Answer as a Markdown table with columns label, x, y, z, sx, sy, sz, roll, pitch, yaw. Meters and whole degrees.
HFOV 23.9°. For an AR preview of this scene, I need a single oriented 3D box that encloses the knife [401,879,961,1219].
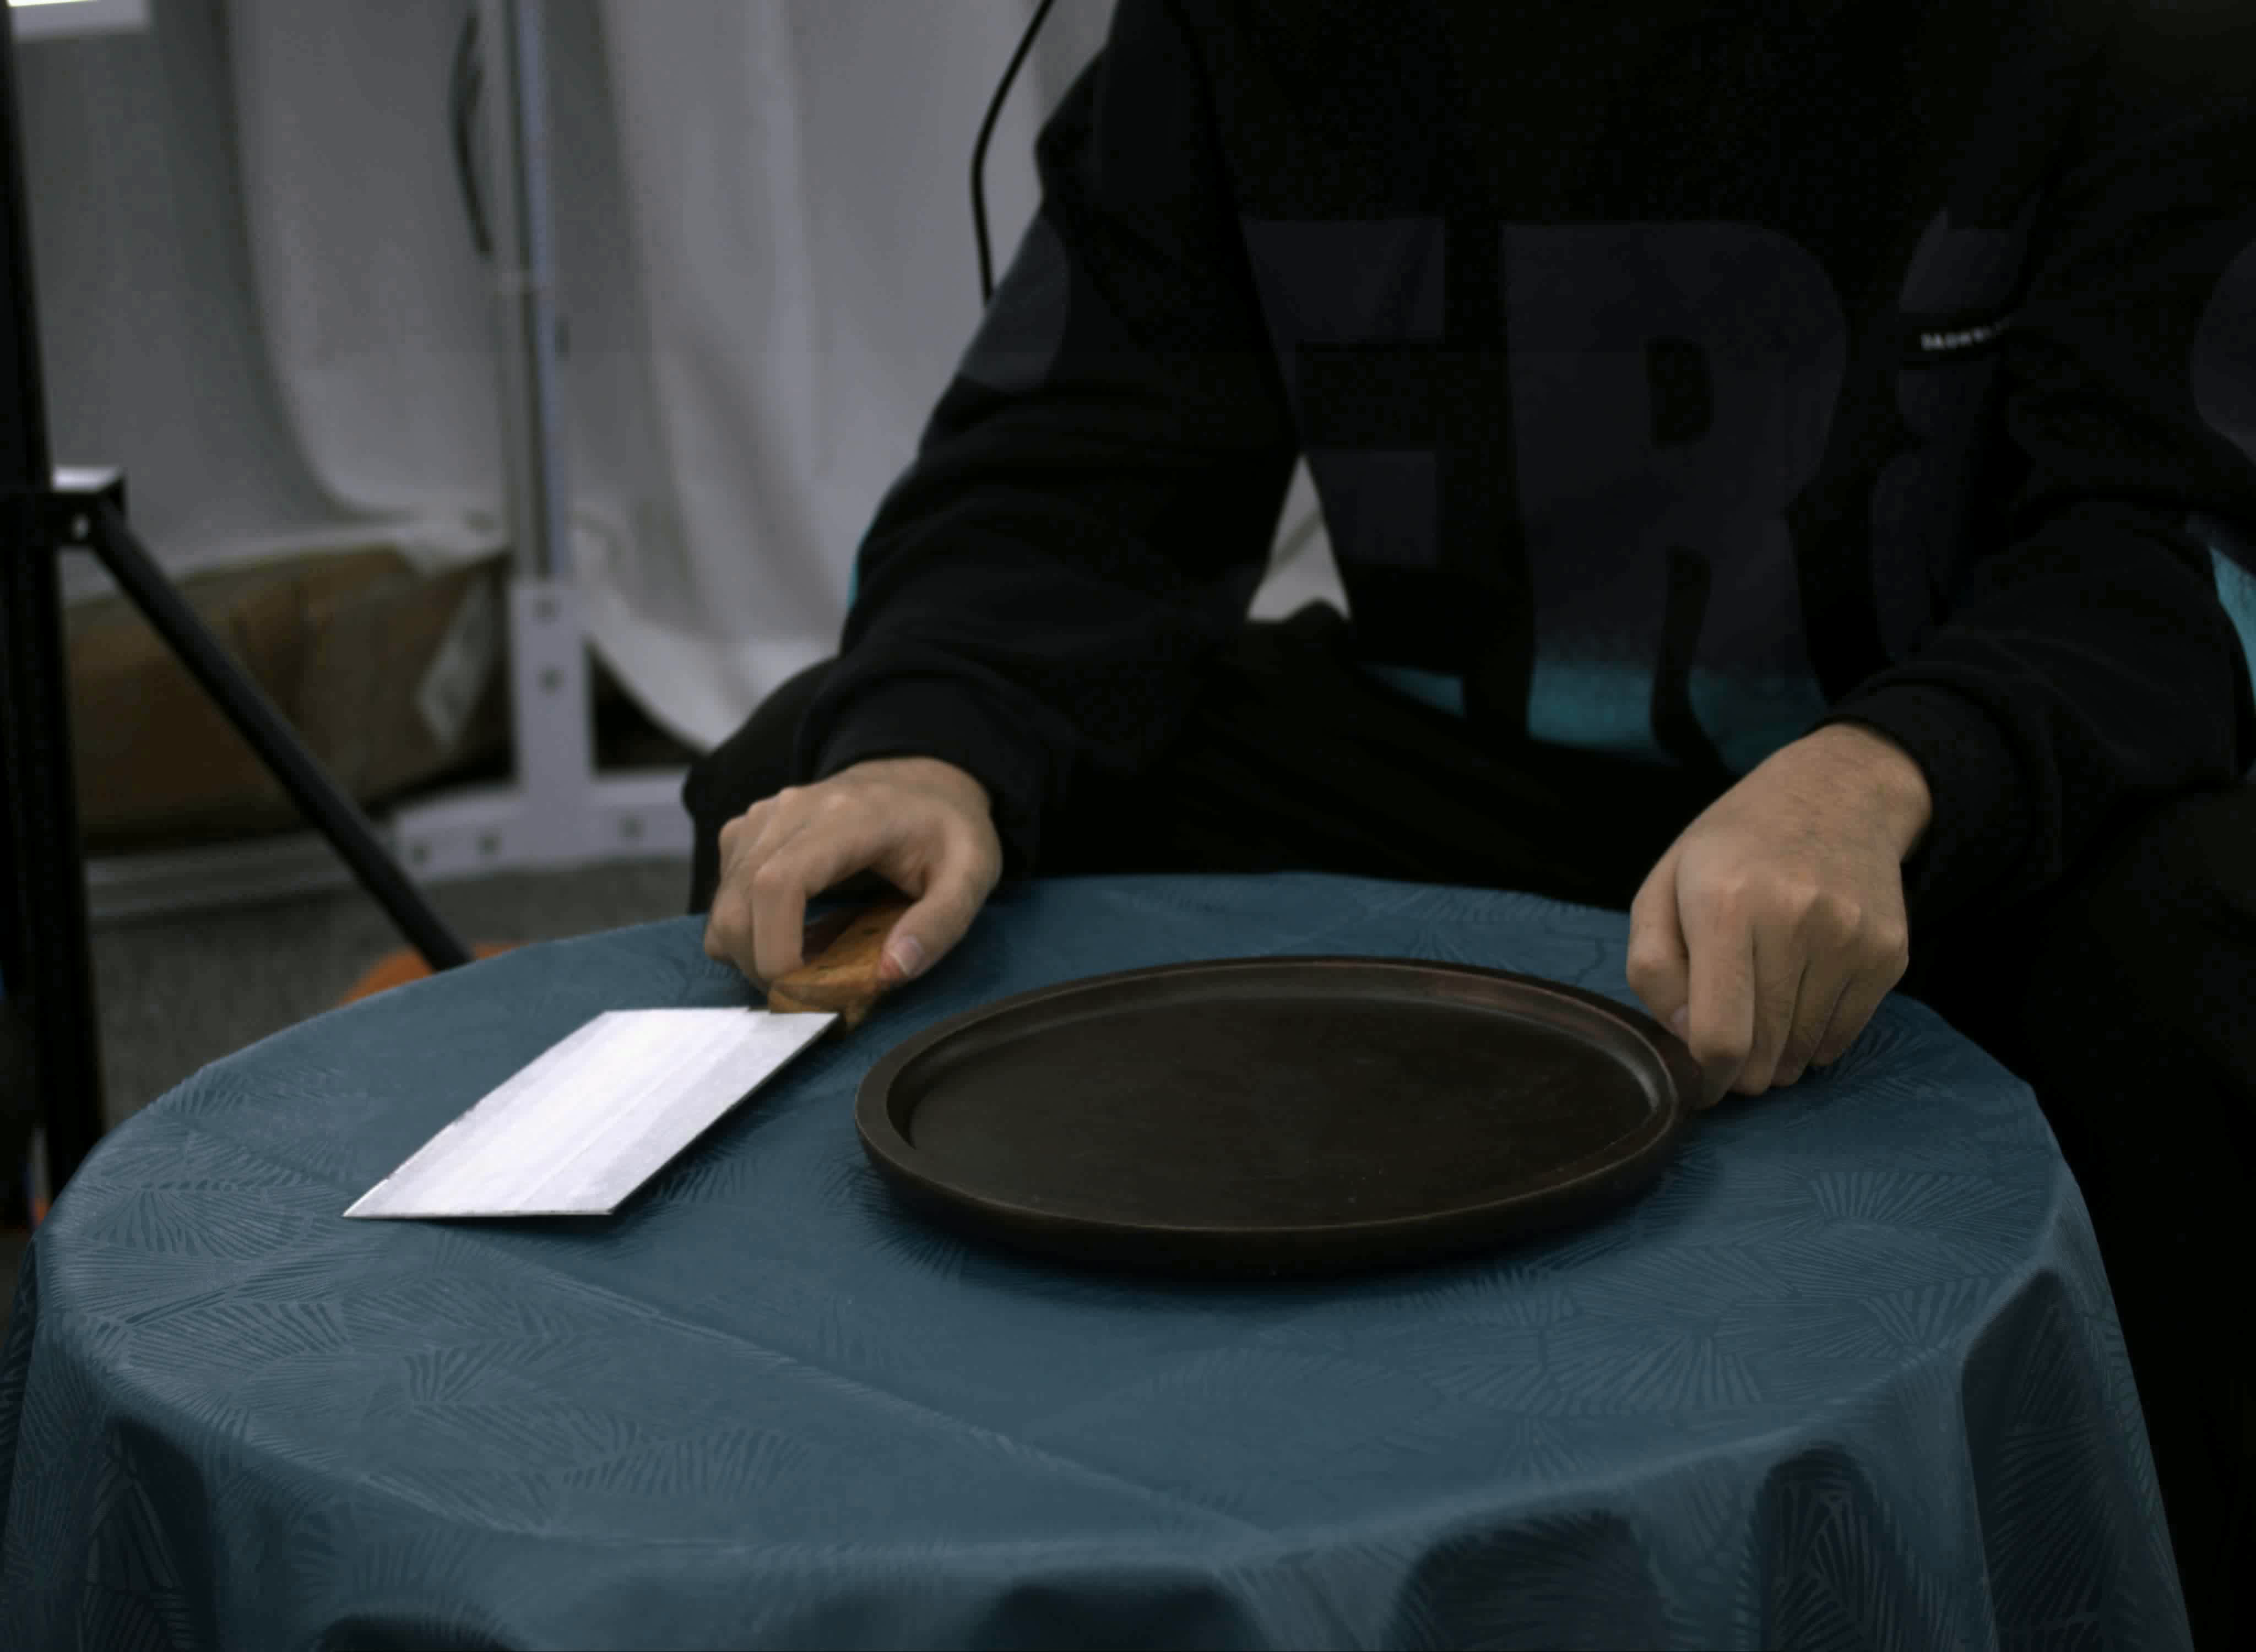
| label | x | y | z | sx | sy | sz | roll | pitch | yaw |
| --- | --- | --- | --- | --- | --- | --- | --- | --- | --- |
| knife | -0.140 | 0.070 | 1.690 | 0.094 | 0.021 | 0.302 | -3 | 15 | 21 |

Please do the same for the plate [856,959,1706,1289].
| label | x | y | z | sx | sy | sz | roll | pitch | yaw |
| --- | --- | --- | --- | --- | --- | --- | --- | --- | --- |
| plate | 0.045 | 0.086 | 1.583 | 0.253 | 0.029 | 0.256 | -2 | 17 | -1 |
